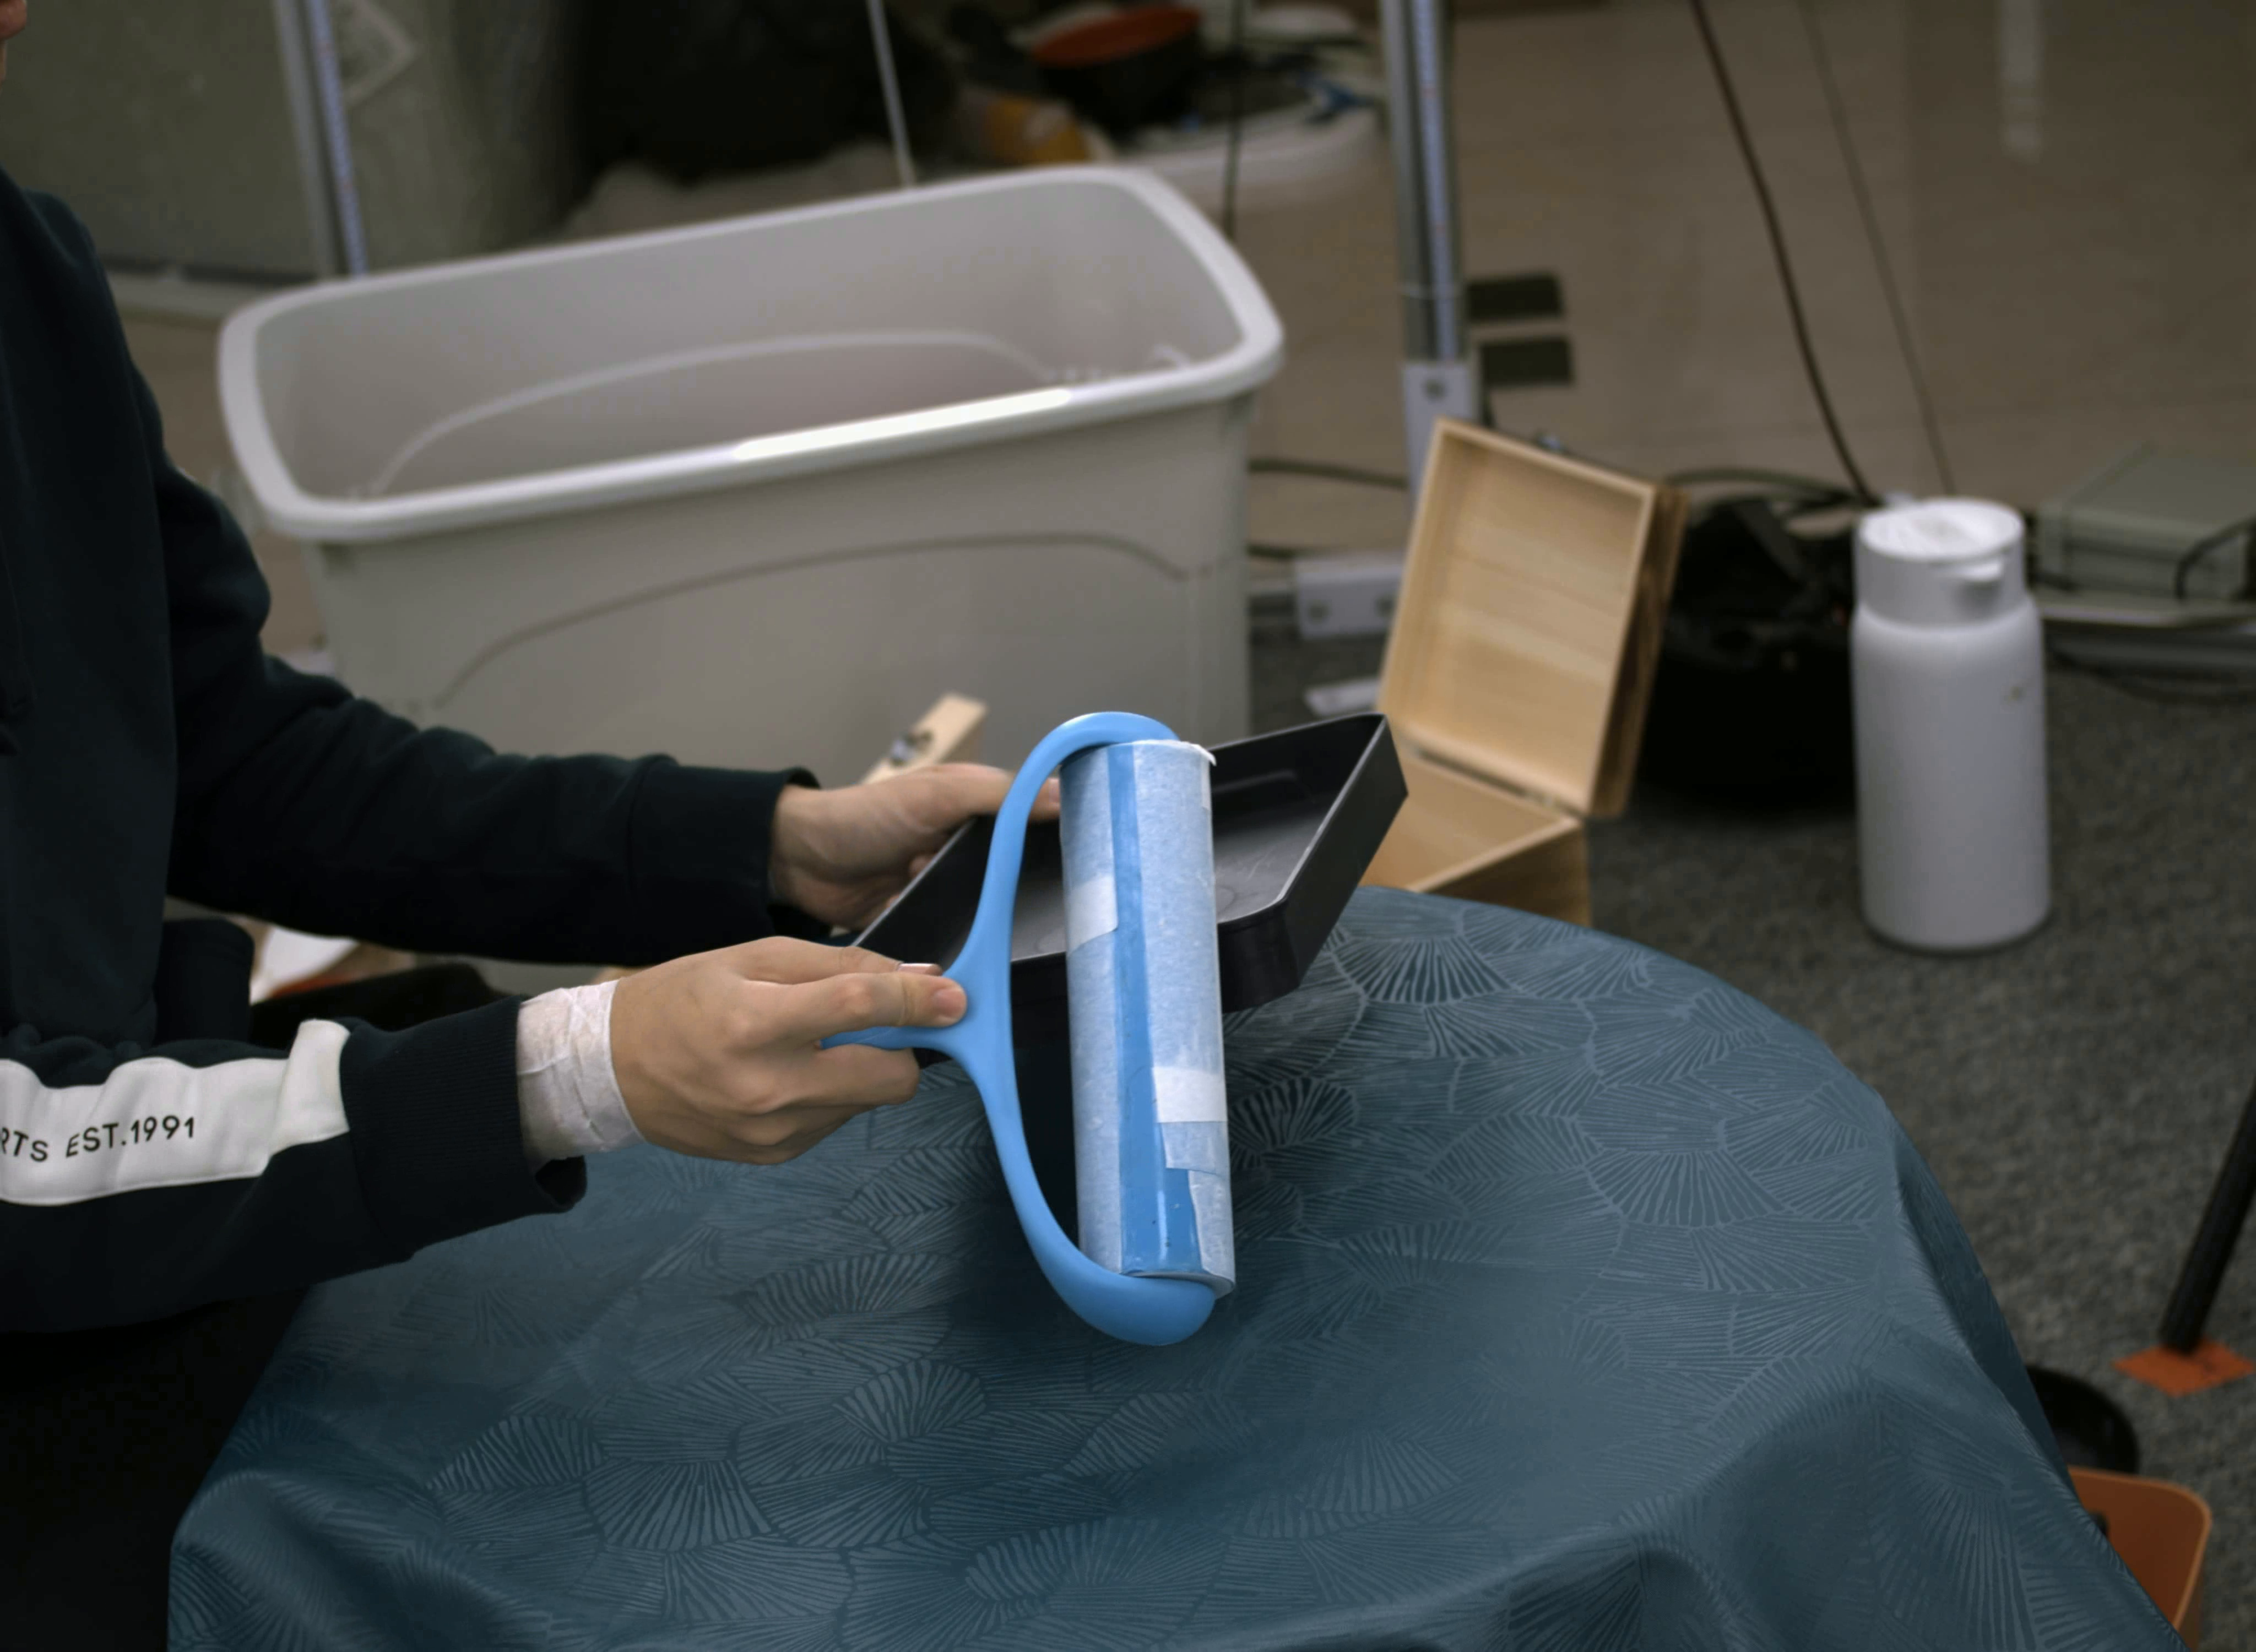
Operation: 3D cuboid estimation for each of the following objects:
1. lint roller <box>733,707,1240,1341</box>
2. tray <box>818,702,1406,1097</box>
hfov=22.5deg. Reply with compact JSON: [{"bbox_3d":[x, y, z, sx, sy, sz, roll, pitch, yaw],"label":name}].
[{"bbox_3d":[-0.053,0.075,1.985,0.180,0.227,0.068,-7,-15,3],"label":"lint roller"},{"bbox_3d":[0.001,0.025,2.188,0.184,0.037,0.315,-13,13,14],"label":"tray"}]
